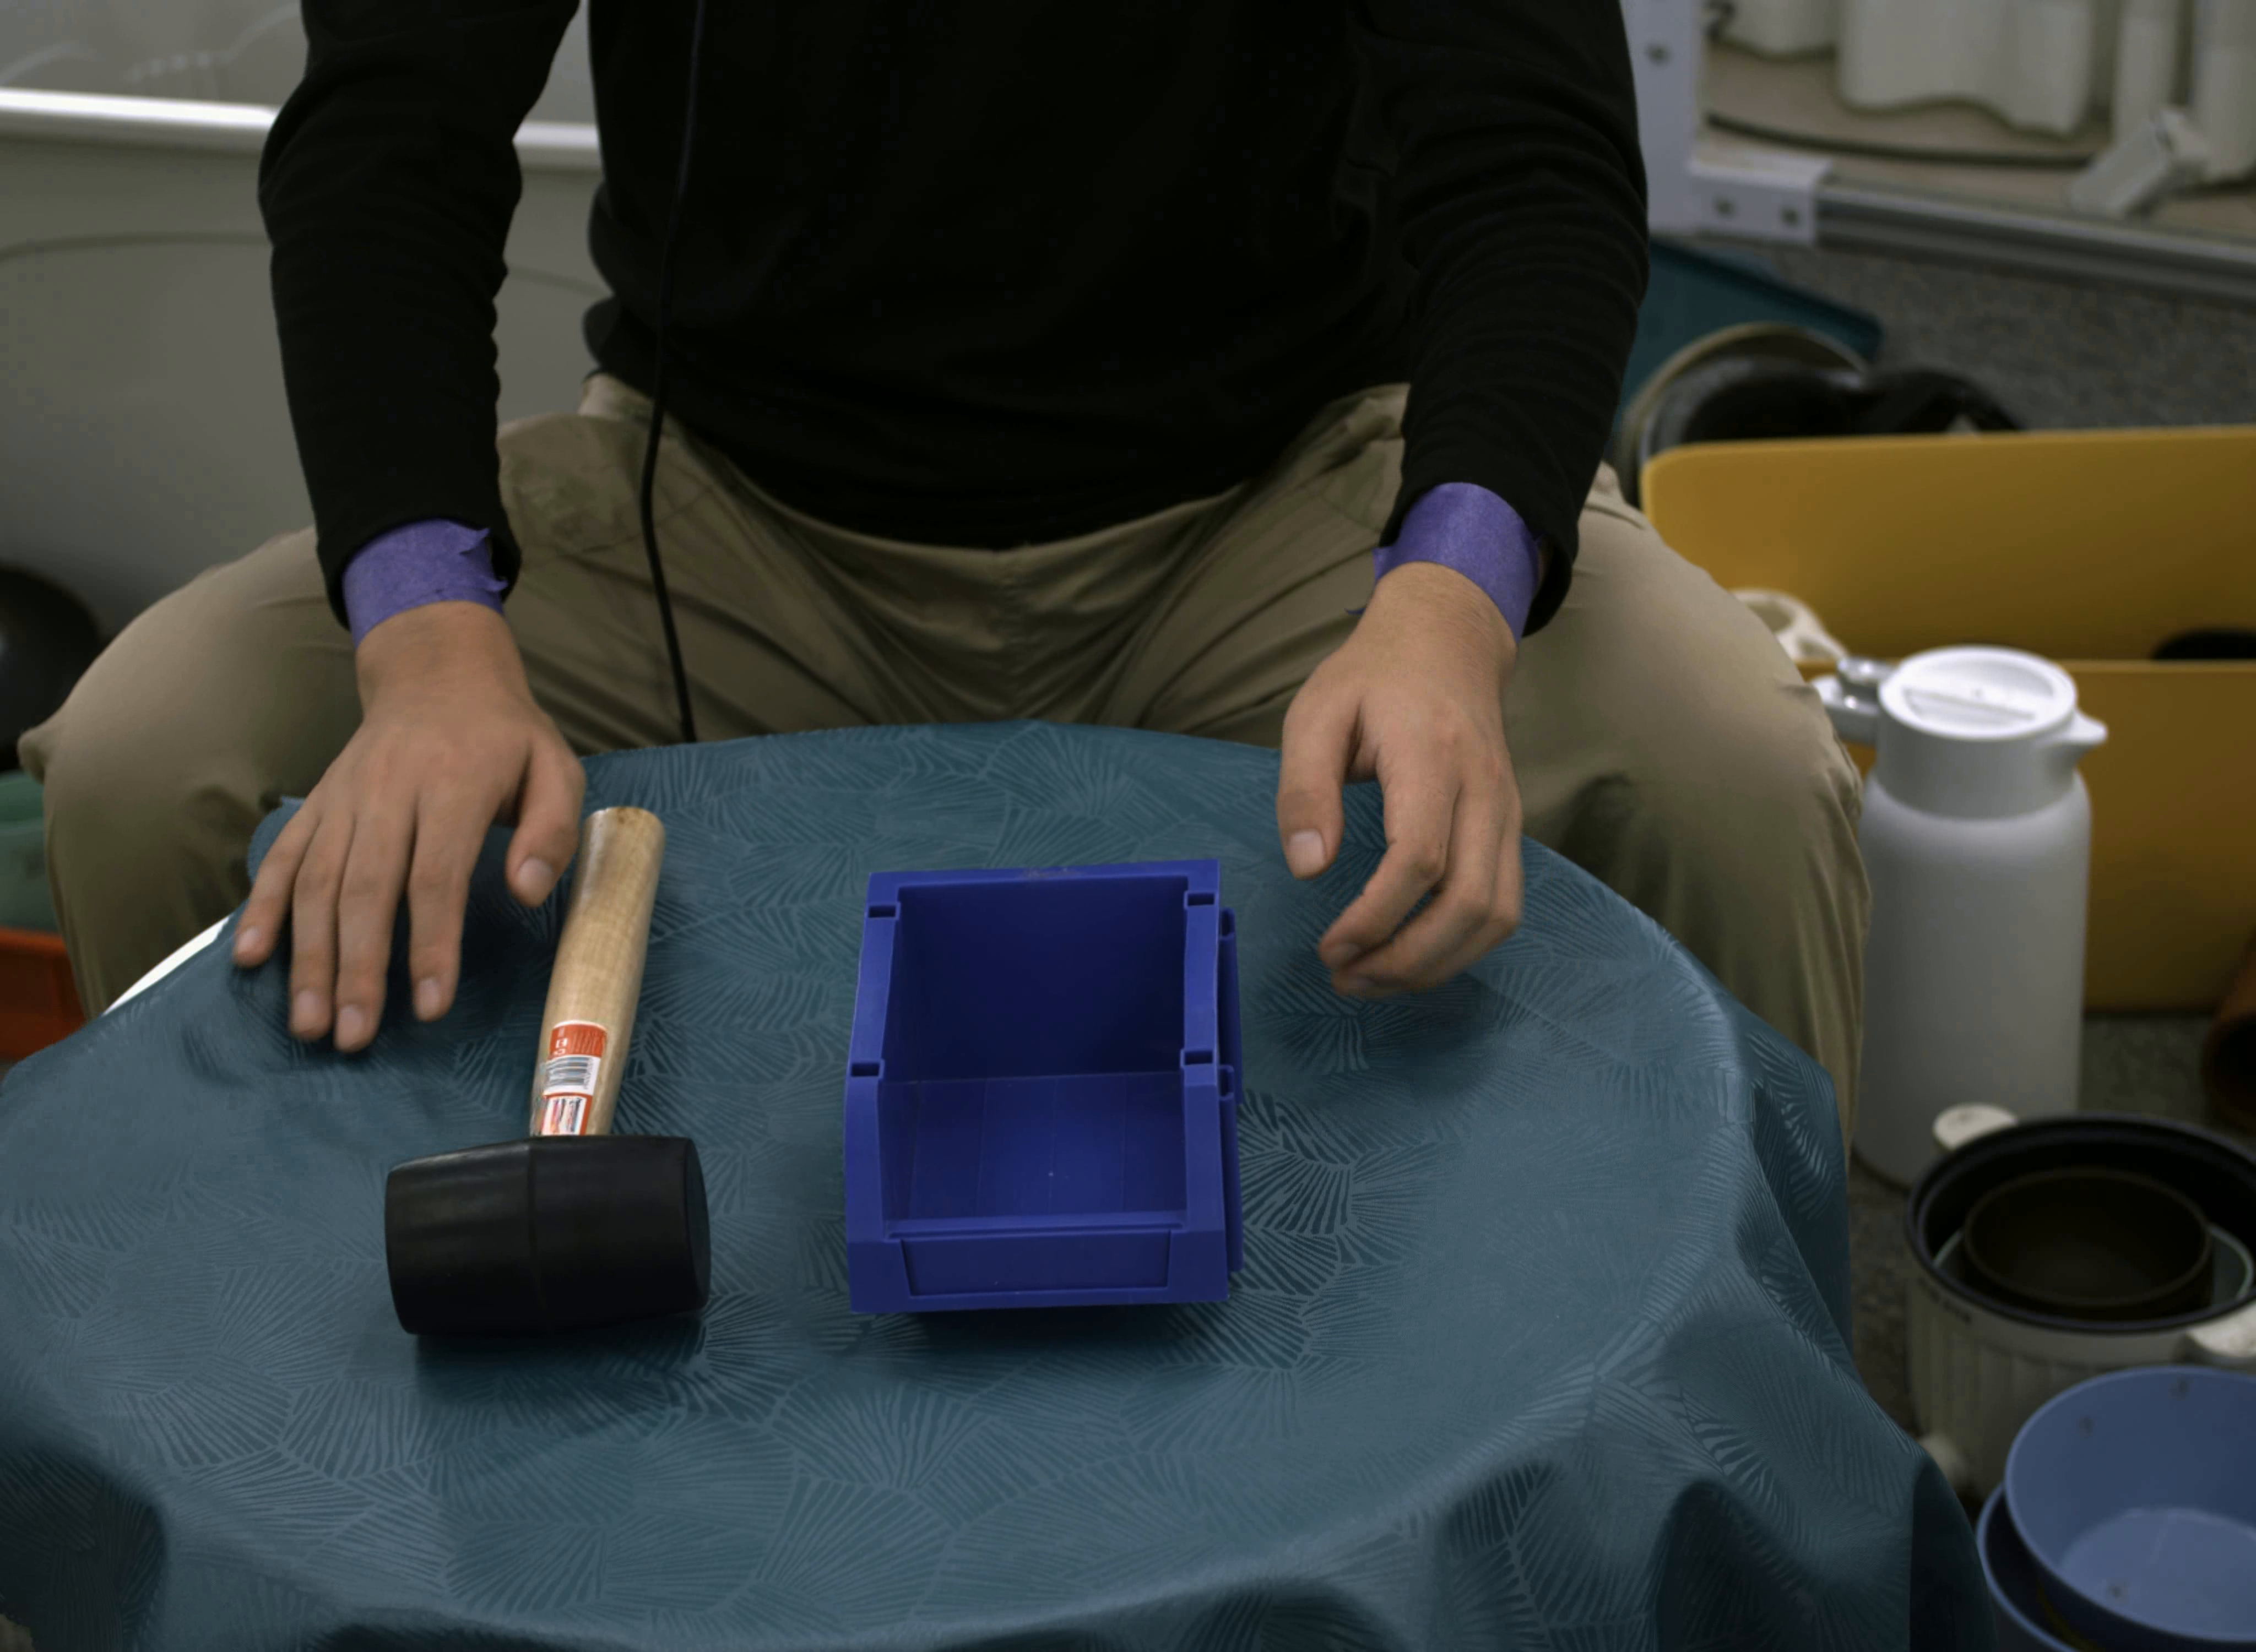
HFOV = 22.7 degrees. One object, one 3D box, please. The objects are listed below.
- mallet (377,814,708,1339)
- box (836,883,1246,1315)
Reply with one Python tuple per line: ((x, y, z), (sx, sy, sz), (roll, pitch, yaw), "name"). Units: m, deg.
((-0.186, 0.069, 1.914), (0.101, 0.063, 0.344), (-2, 27, 1), "mallet")
((-0.026, 0.094, 1.827), (0.124, 0.081, 0.182), (-1, 24, 3), "box")
